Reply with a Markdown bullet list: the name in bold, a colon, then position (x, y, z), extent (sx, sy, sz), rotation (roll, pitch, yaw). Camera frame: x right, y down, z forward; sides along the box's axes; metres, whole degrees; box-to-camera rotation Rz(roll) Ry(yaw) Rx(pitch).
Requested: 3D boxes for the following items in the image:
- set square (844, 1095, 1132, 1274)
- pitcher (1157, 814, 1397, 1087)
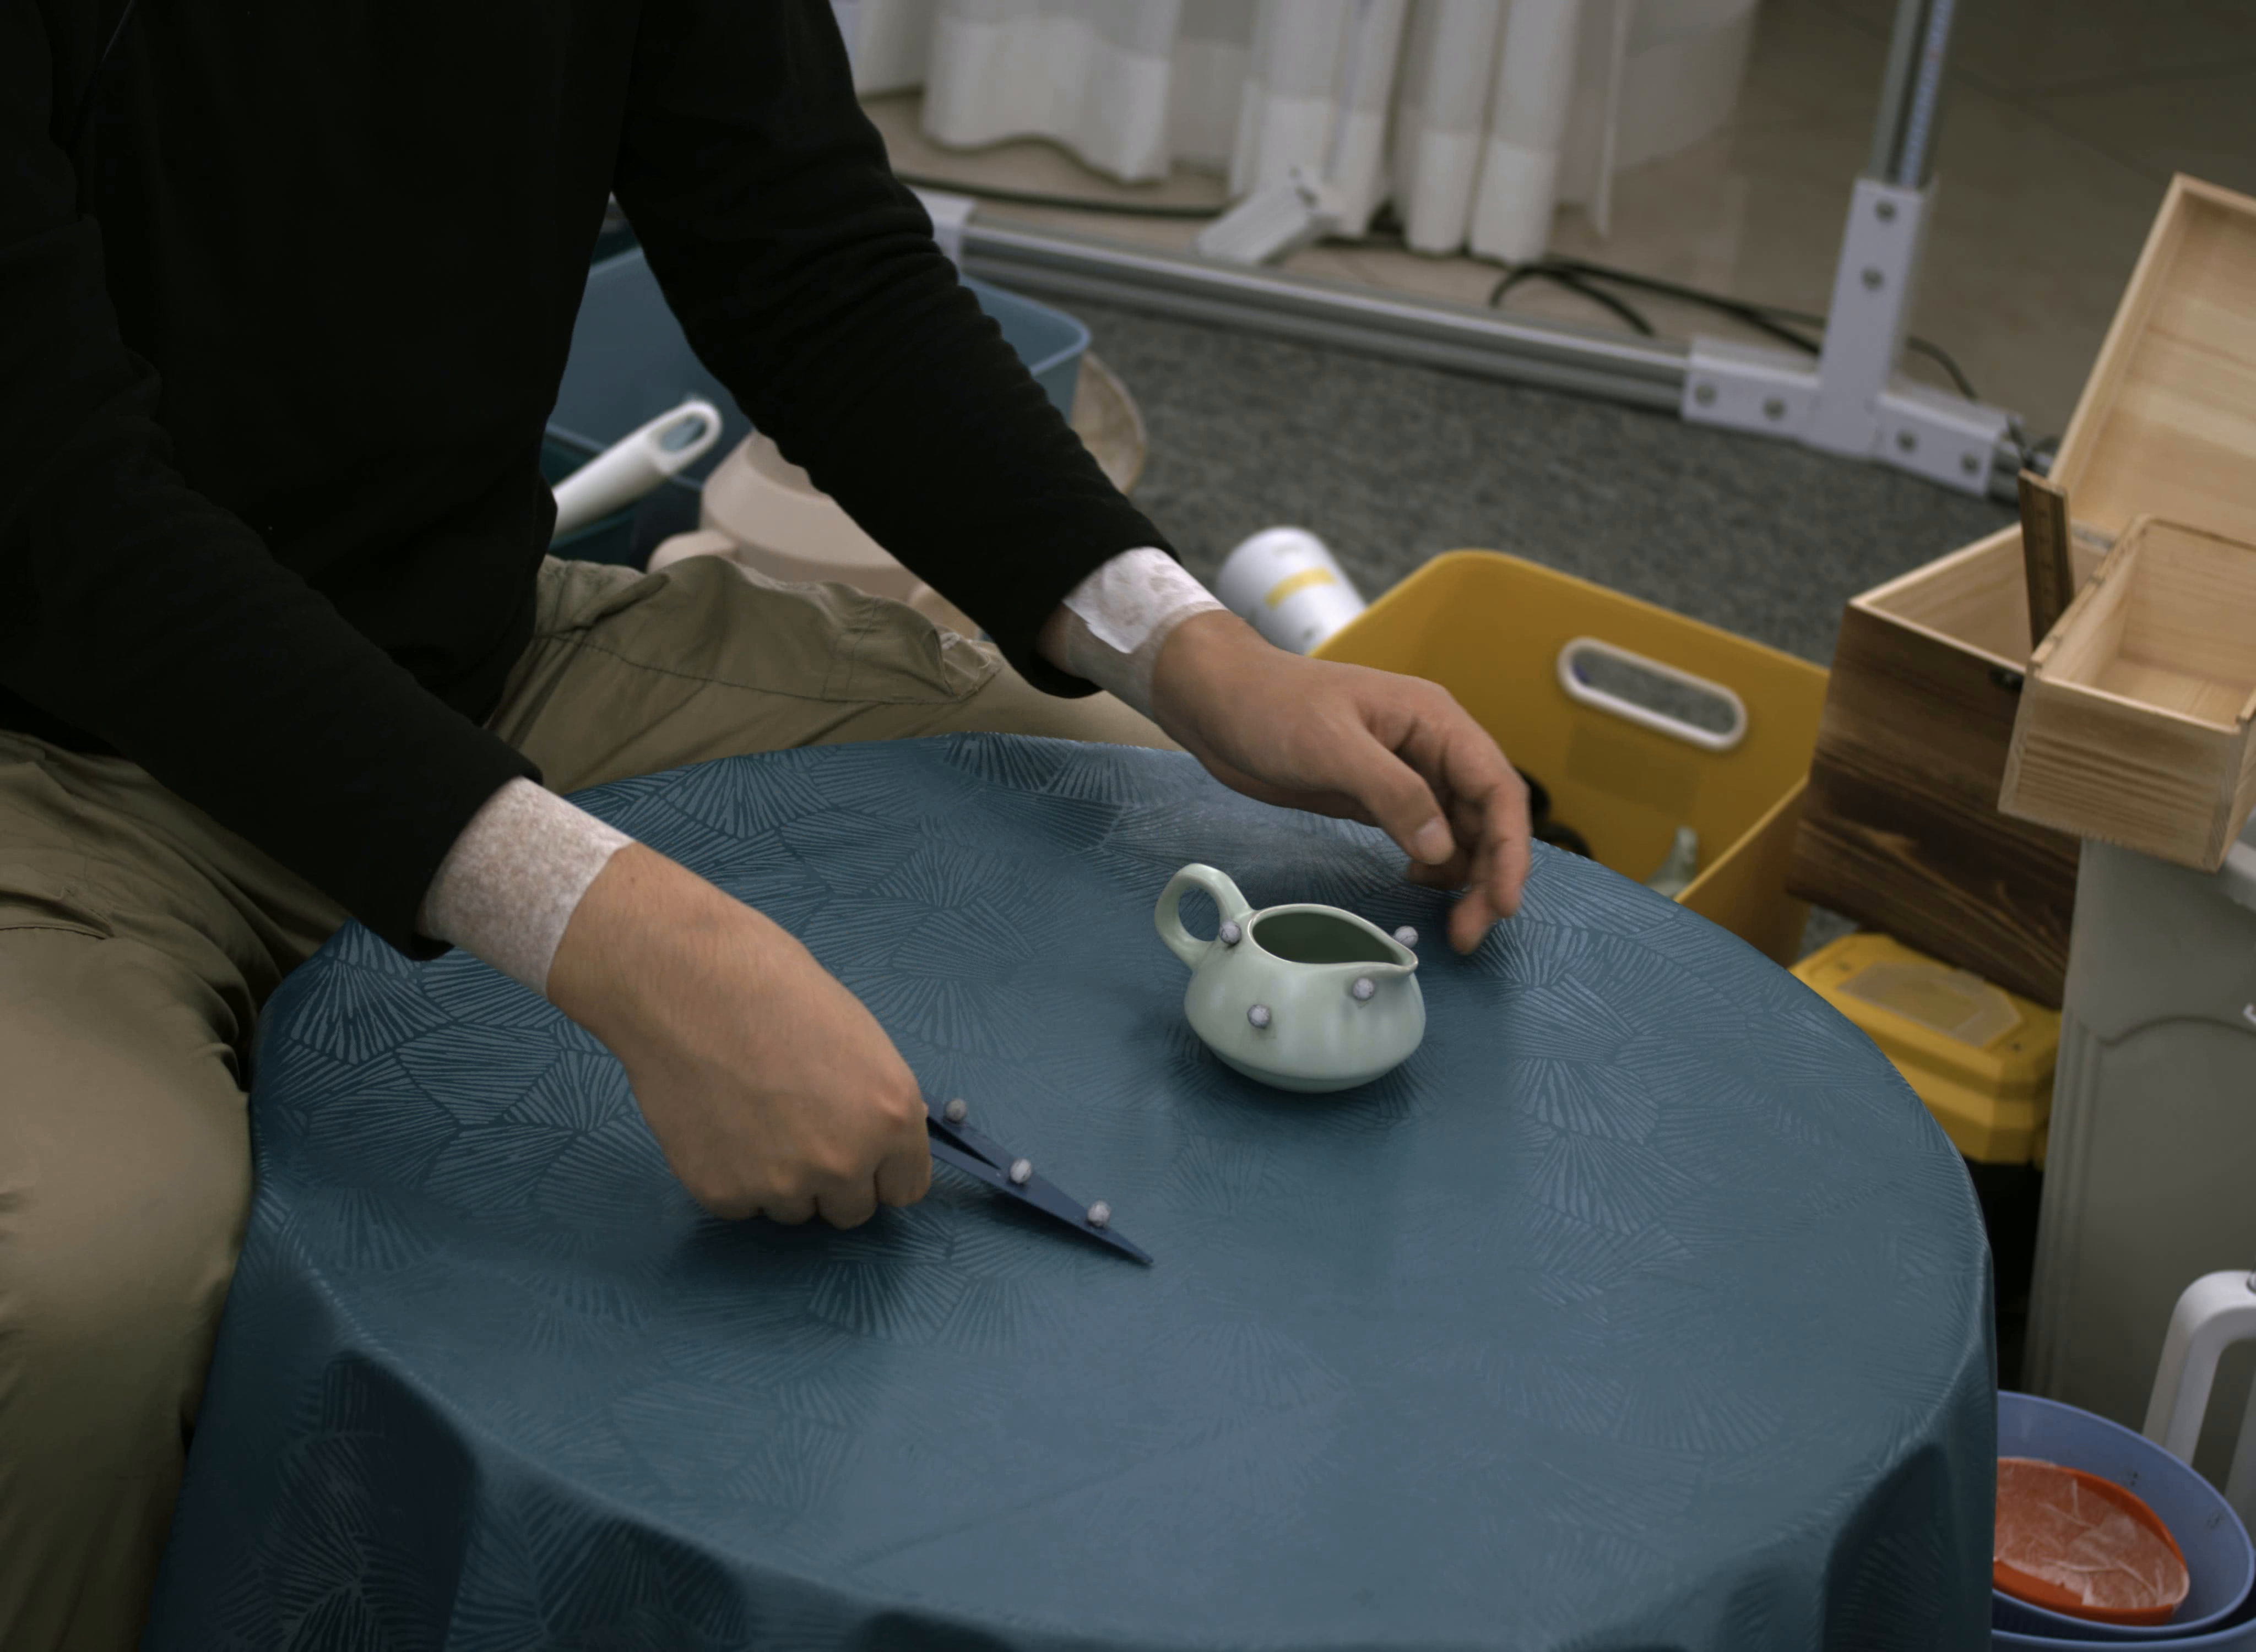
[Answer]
- **set square**: position (-0.052, 0.115, 1.773), extent (0.060, 0.006, 0.133), rotation (11, 17, -40)
- **pitcher**: position (0.048, 0.045, 1.892), extent (0.085, 0.060, 0.109), rotation (-24, 56, -30)
